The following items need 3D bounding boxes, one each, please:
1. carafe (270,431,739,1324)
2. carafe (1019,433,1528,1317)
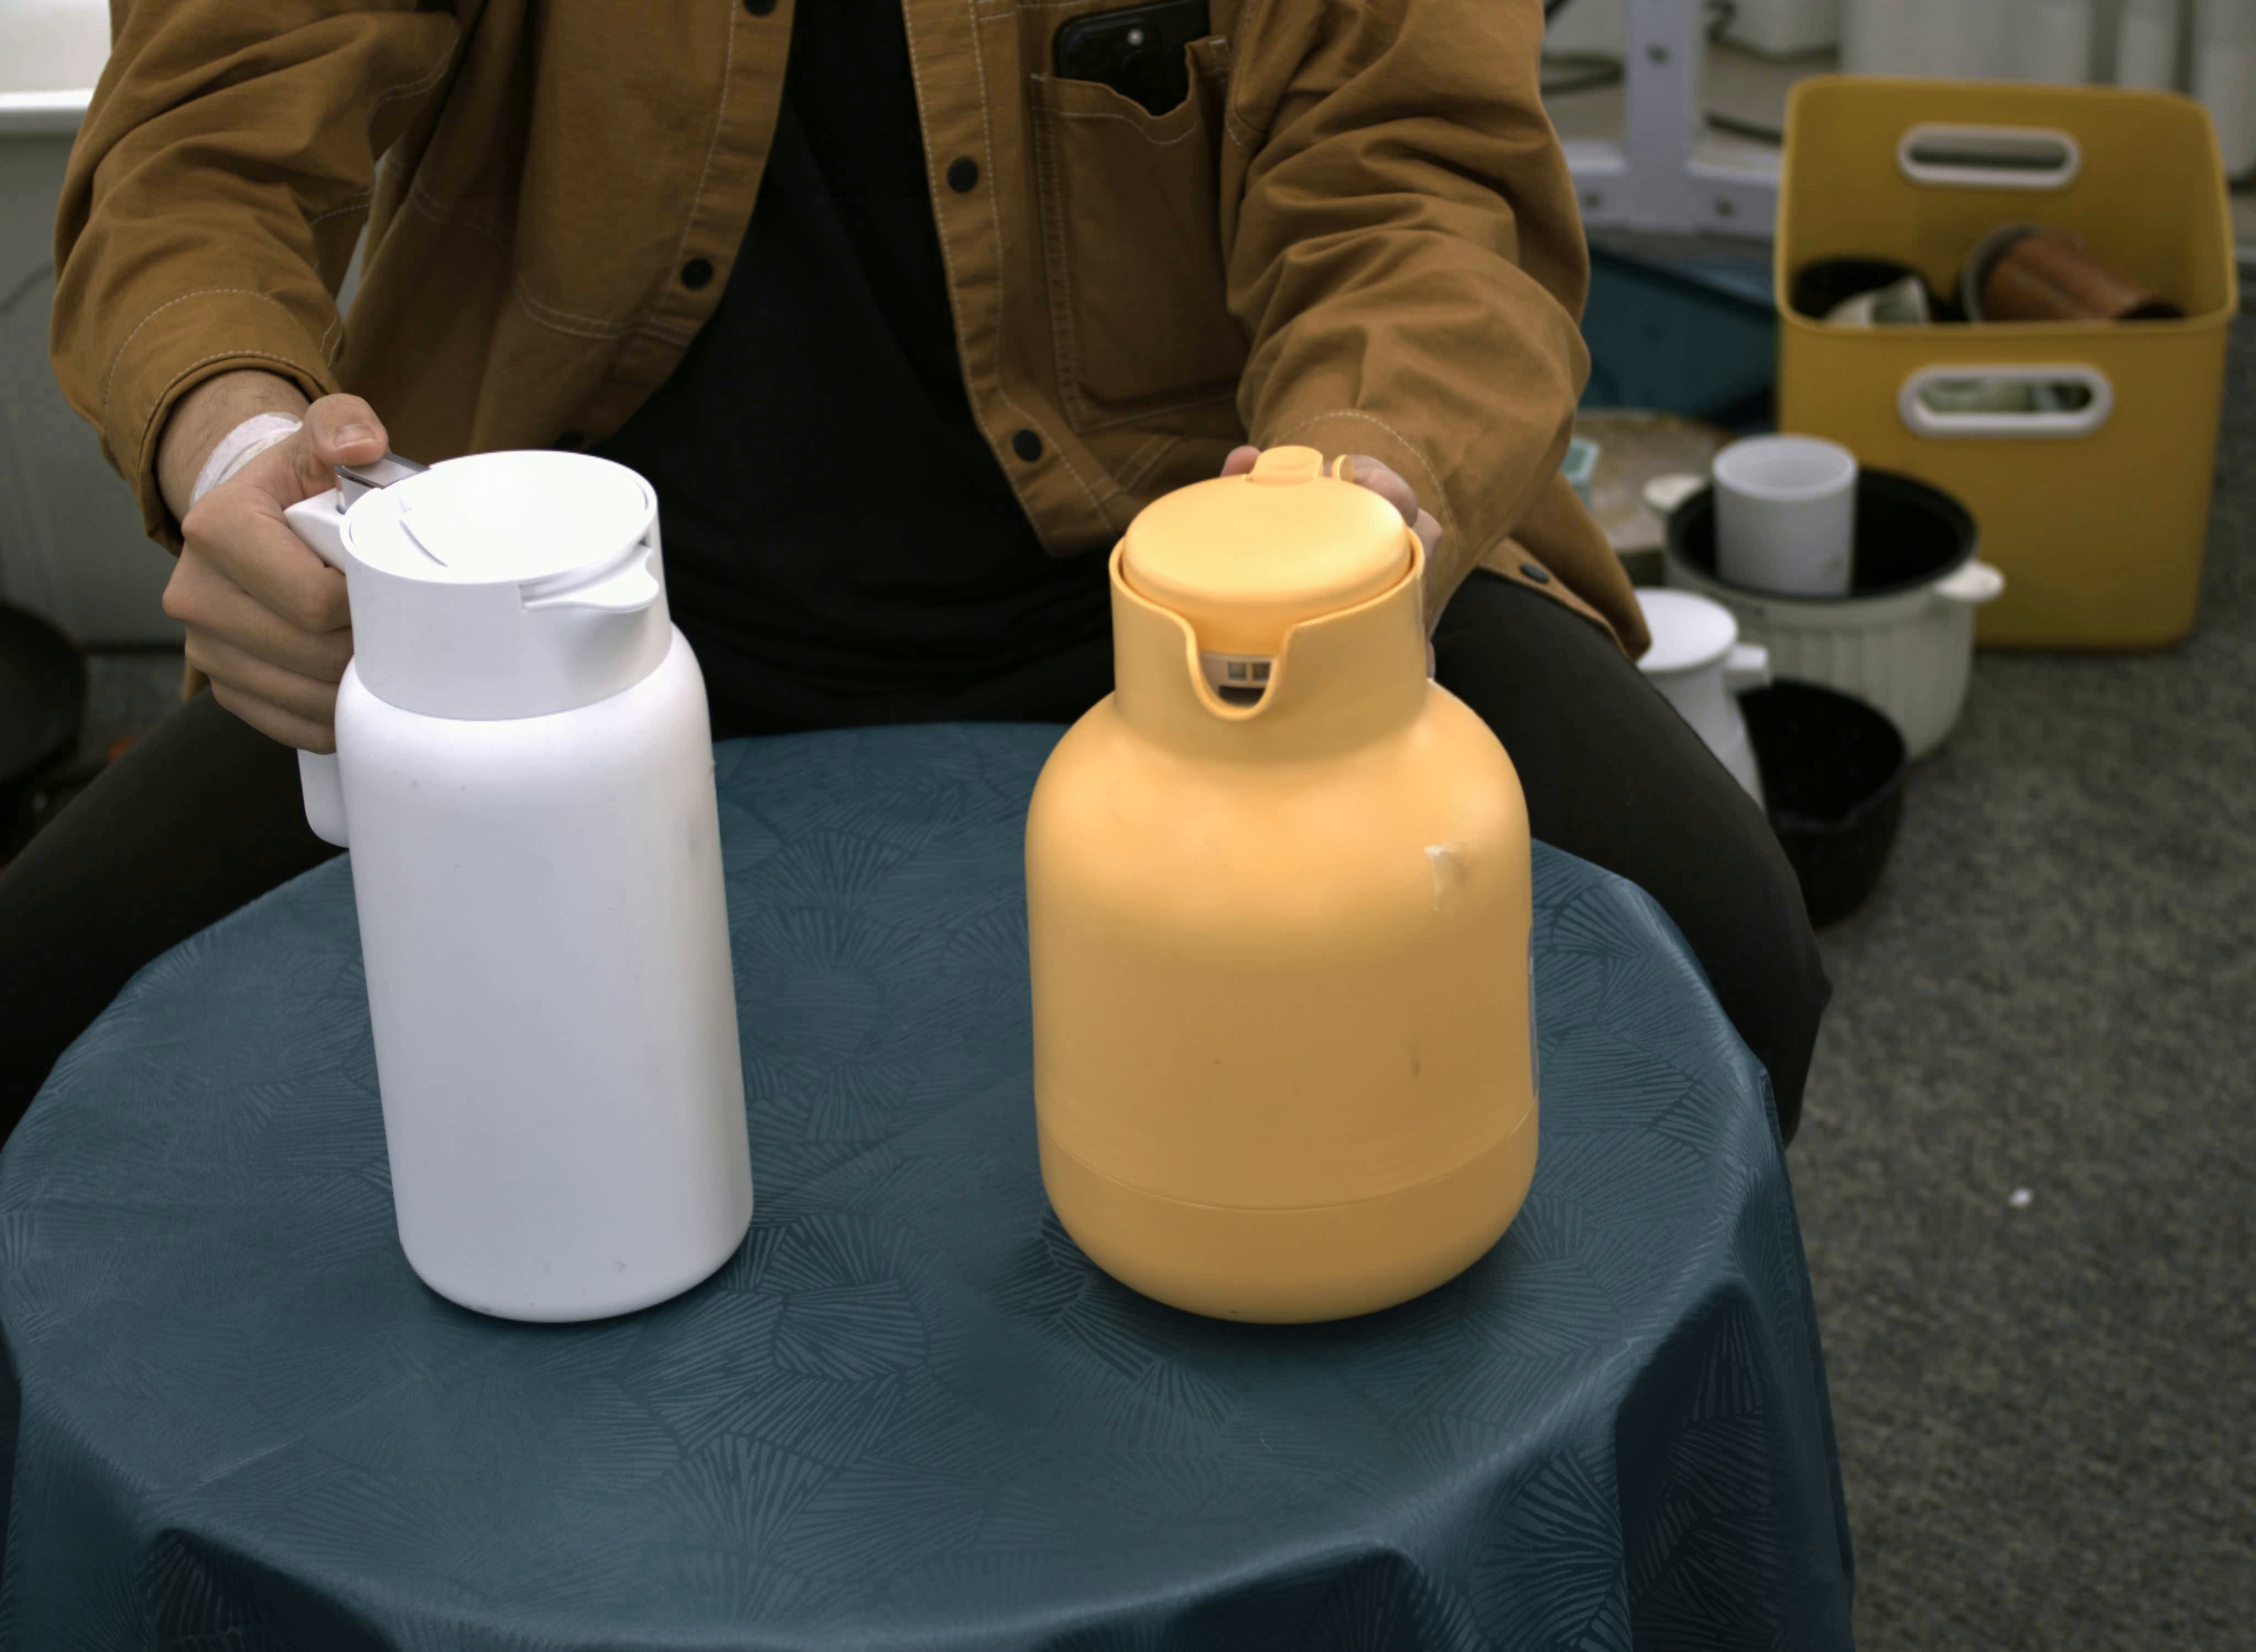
[{"bbox_3d":[-0.203,0.014,1.799,0.172,0.266,0.125,20,36,38],"label":"carafe"},{"bbox_3d":[0.051,0.006,1.794,0.162,0.257,0.206,5,29,10],"label":"carafe"}]
